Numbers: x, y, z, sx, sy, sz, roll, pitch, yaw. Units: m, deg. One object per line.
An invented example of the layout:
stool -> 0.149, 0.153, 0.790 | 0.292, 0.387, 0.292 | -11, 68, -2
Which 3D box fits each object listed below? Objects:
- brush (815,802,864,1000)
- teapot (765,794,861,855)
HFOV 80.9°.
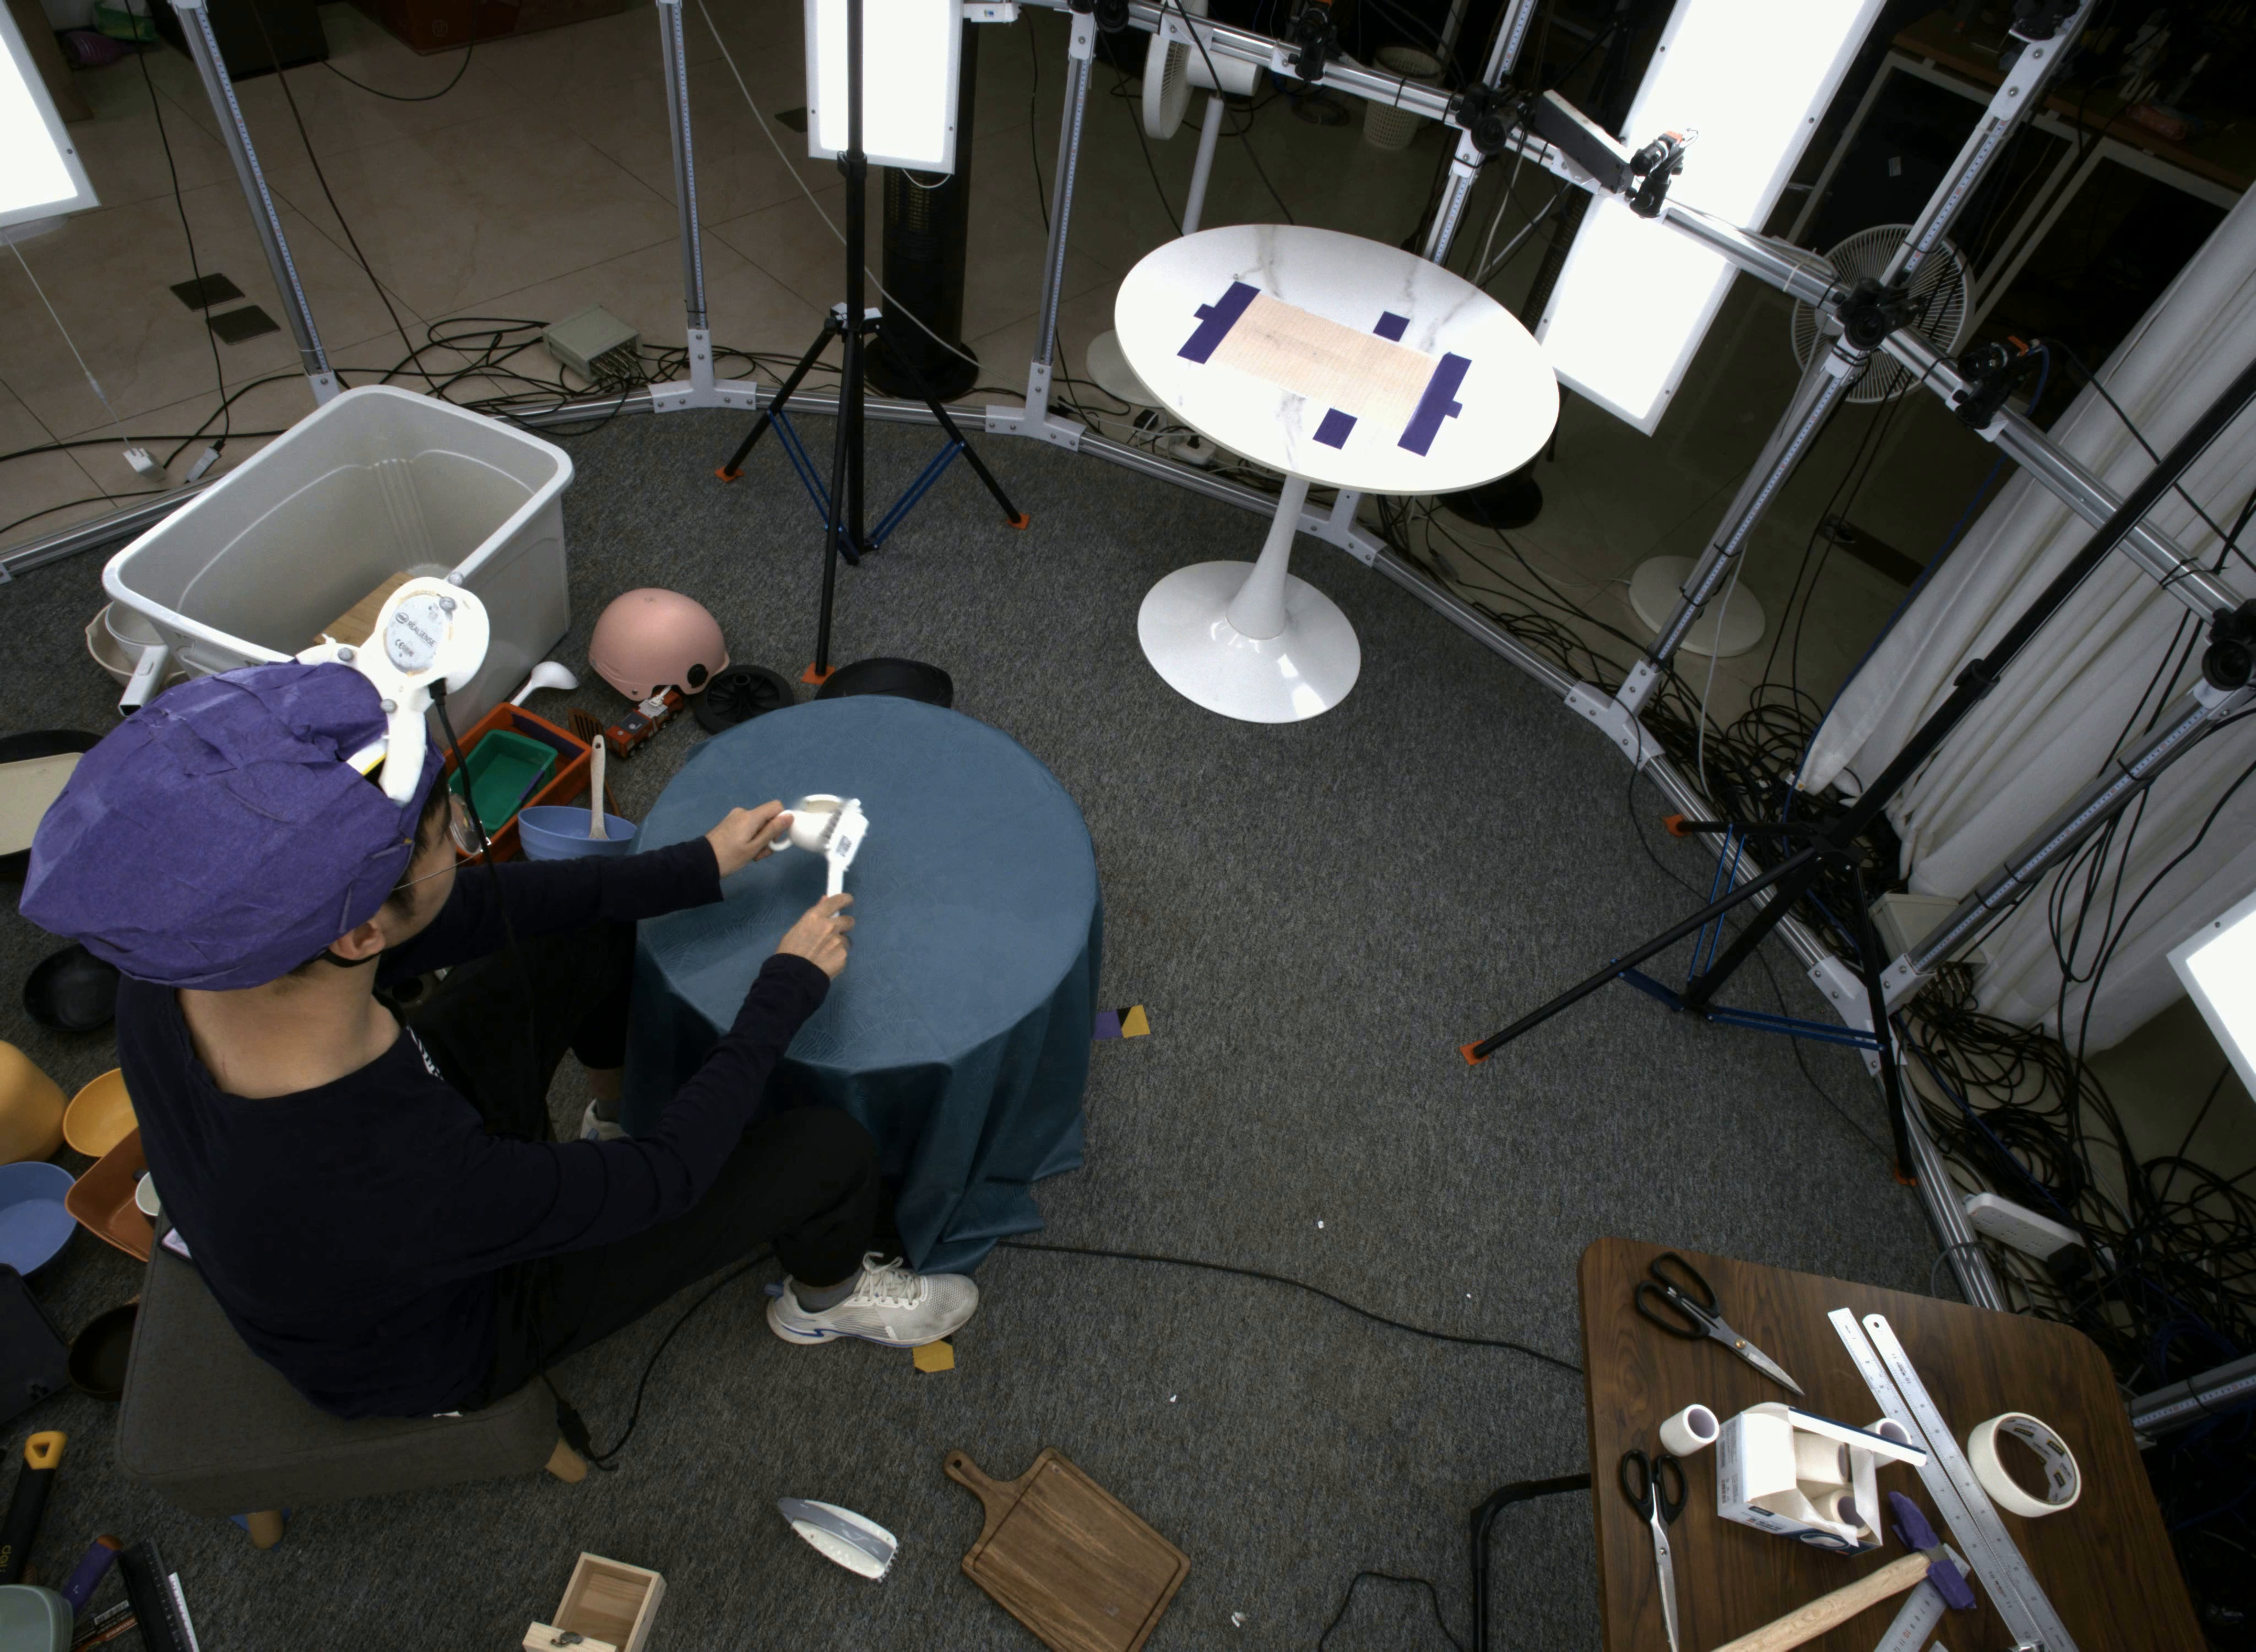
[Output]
brush -> -0.360, 0.087, 1.555 | 0.049, 0.035, 0.243 | -5, 69, 29
teapot -> -0.395, 0.000, 1.631 | 0.128, 0.058, 0.090 | -15, 36, -36
